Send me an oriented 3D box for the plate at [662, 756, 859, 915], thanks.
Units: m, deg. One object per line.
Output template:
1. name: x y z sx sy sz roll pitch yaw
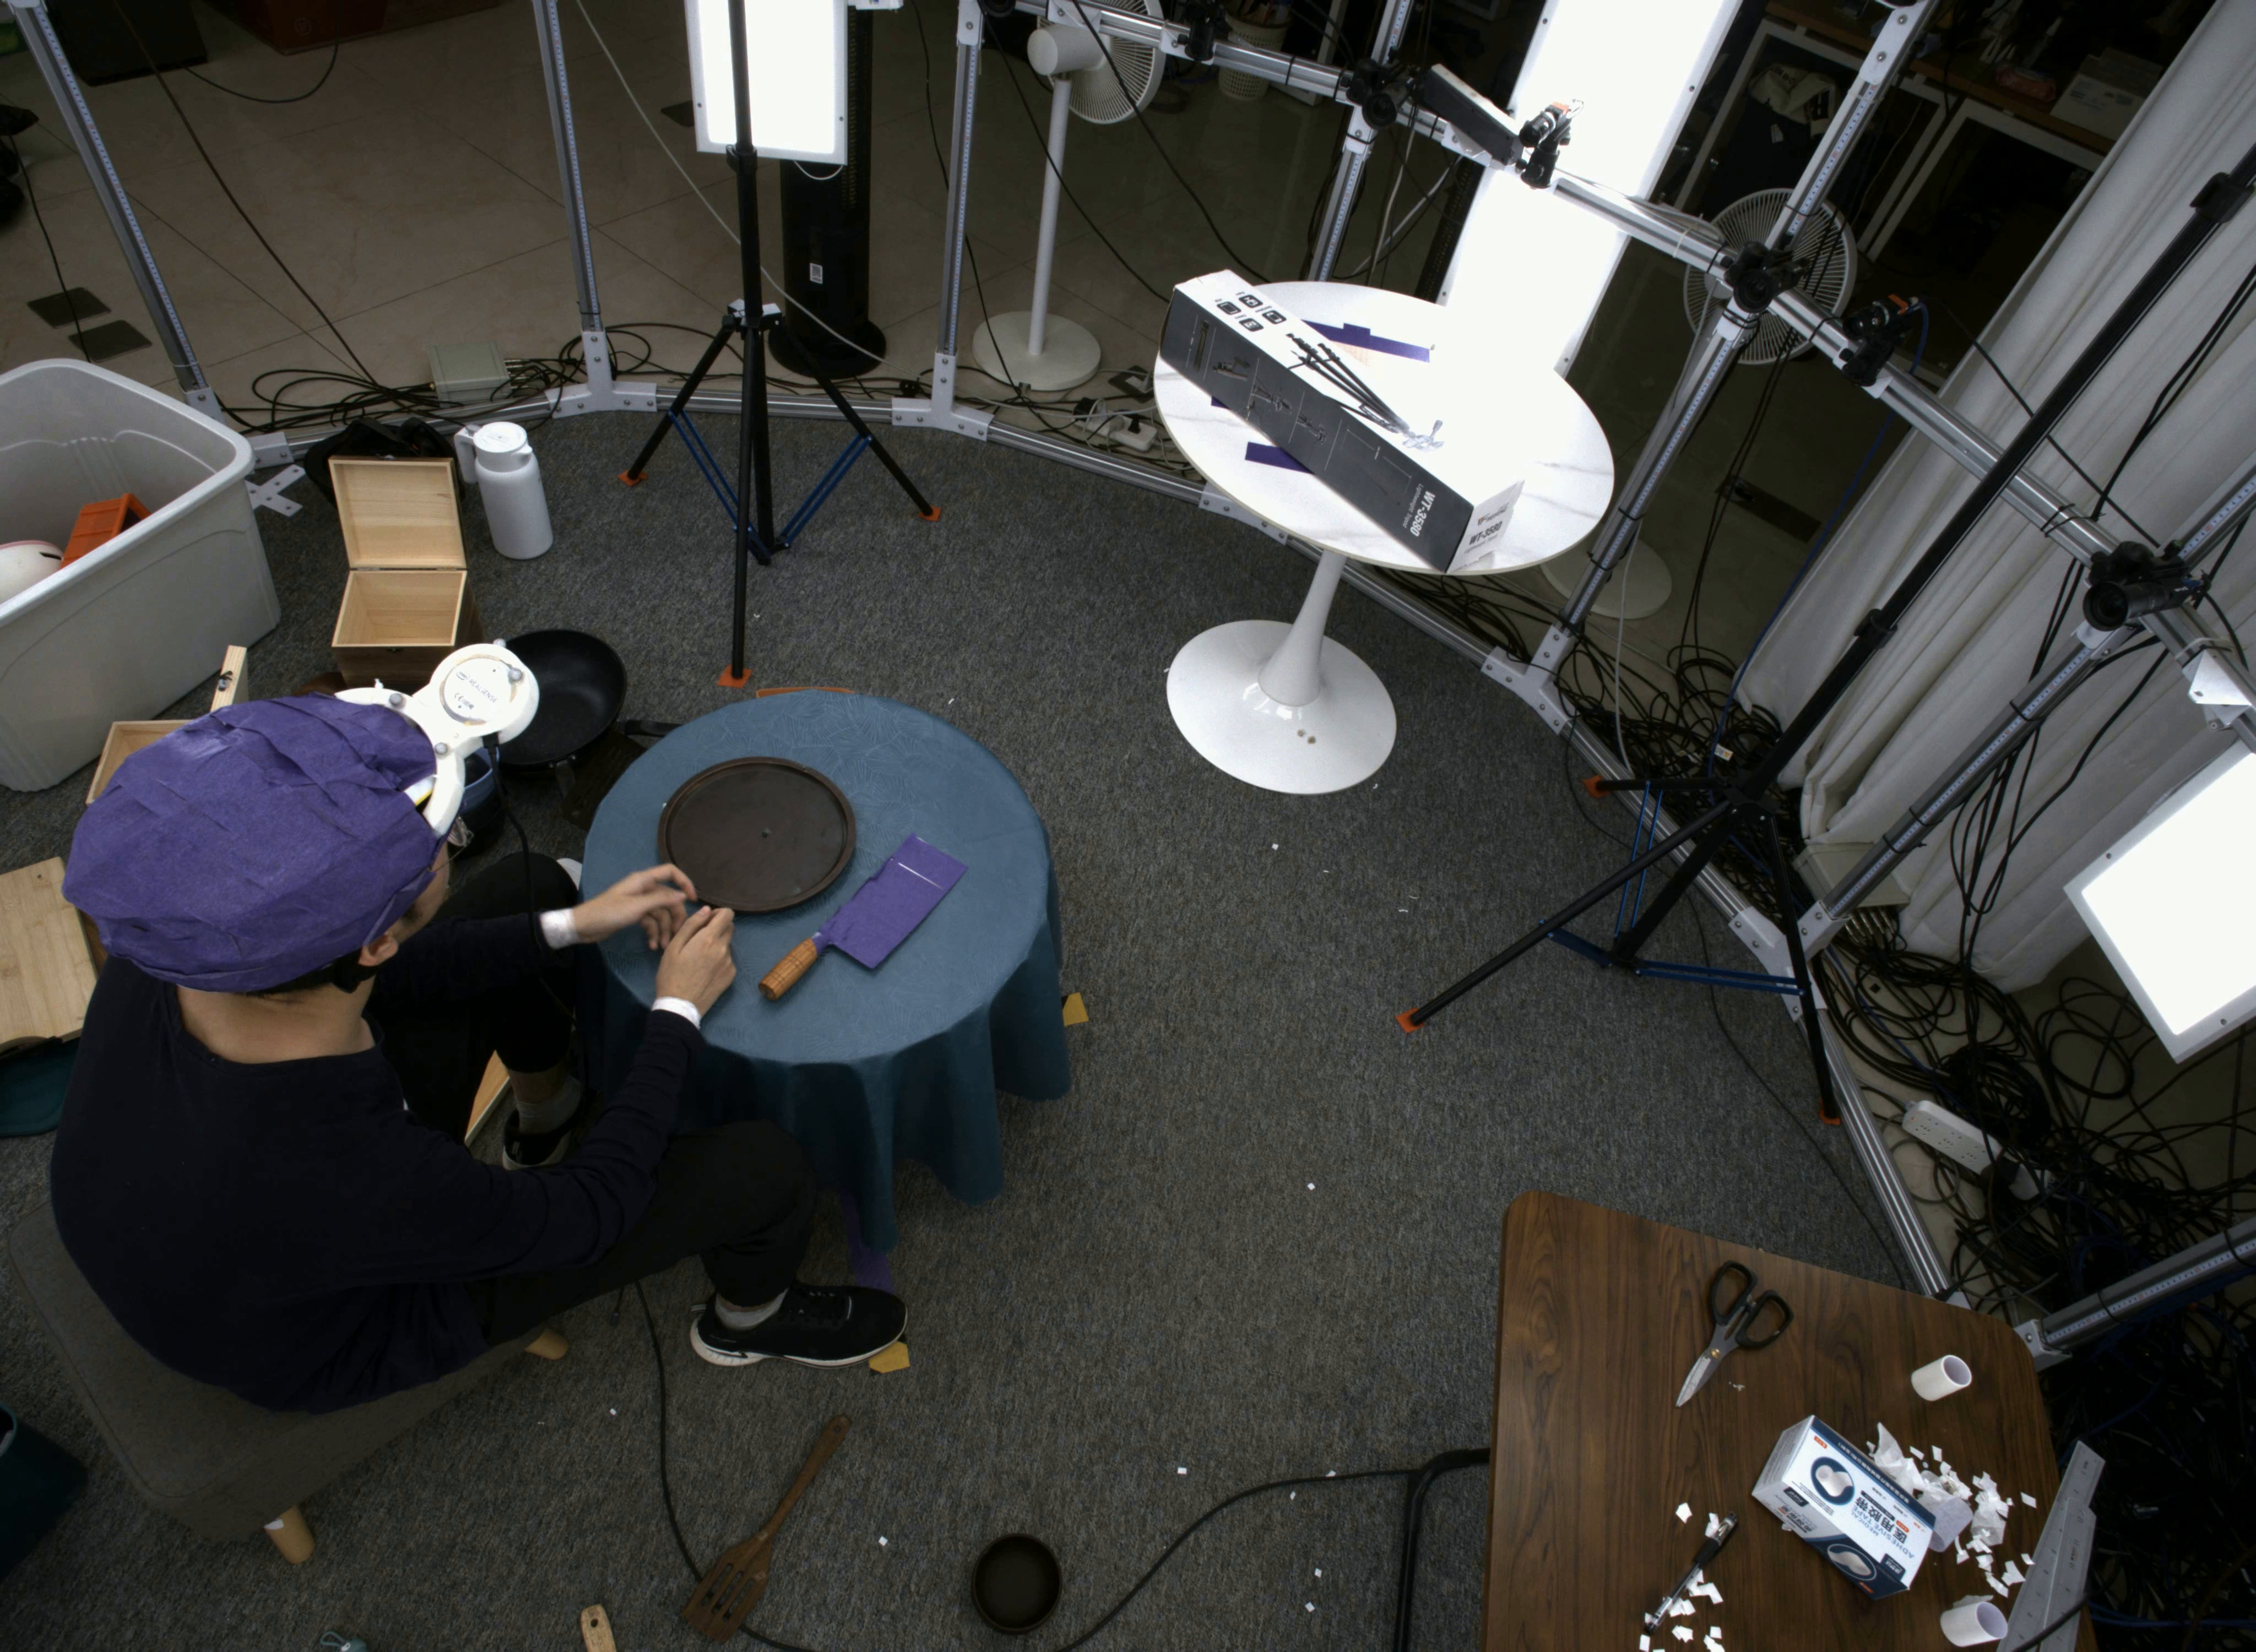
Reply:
1. plate: -0.481 0.010 1.698 0.254 0.029 0.250 8 52 -8

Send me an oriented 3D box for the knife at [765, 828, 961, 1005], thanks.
1. knife: -0.327 0.120 1.654 0.102 0.033 0.314 30 52 9
